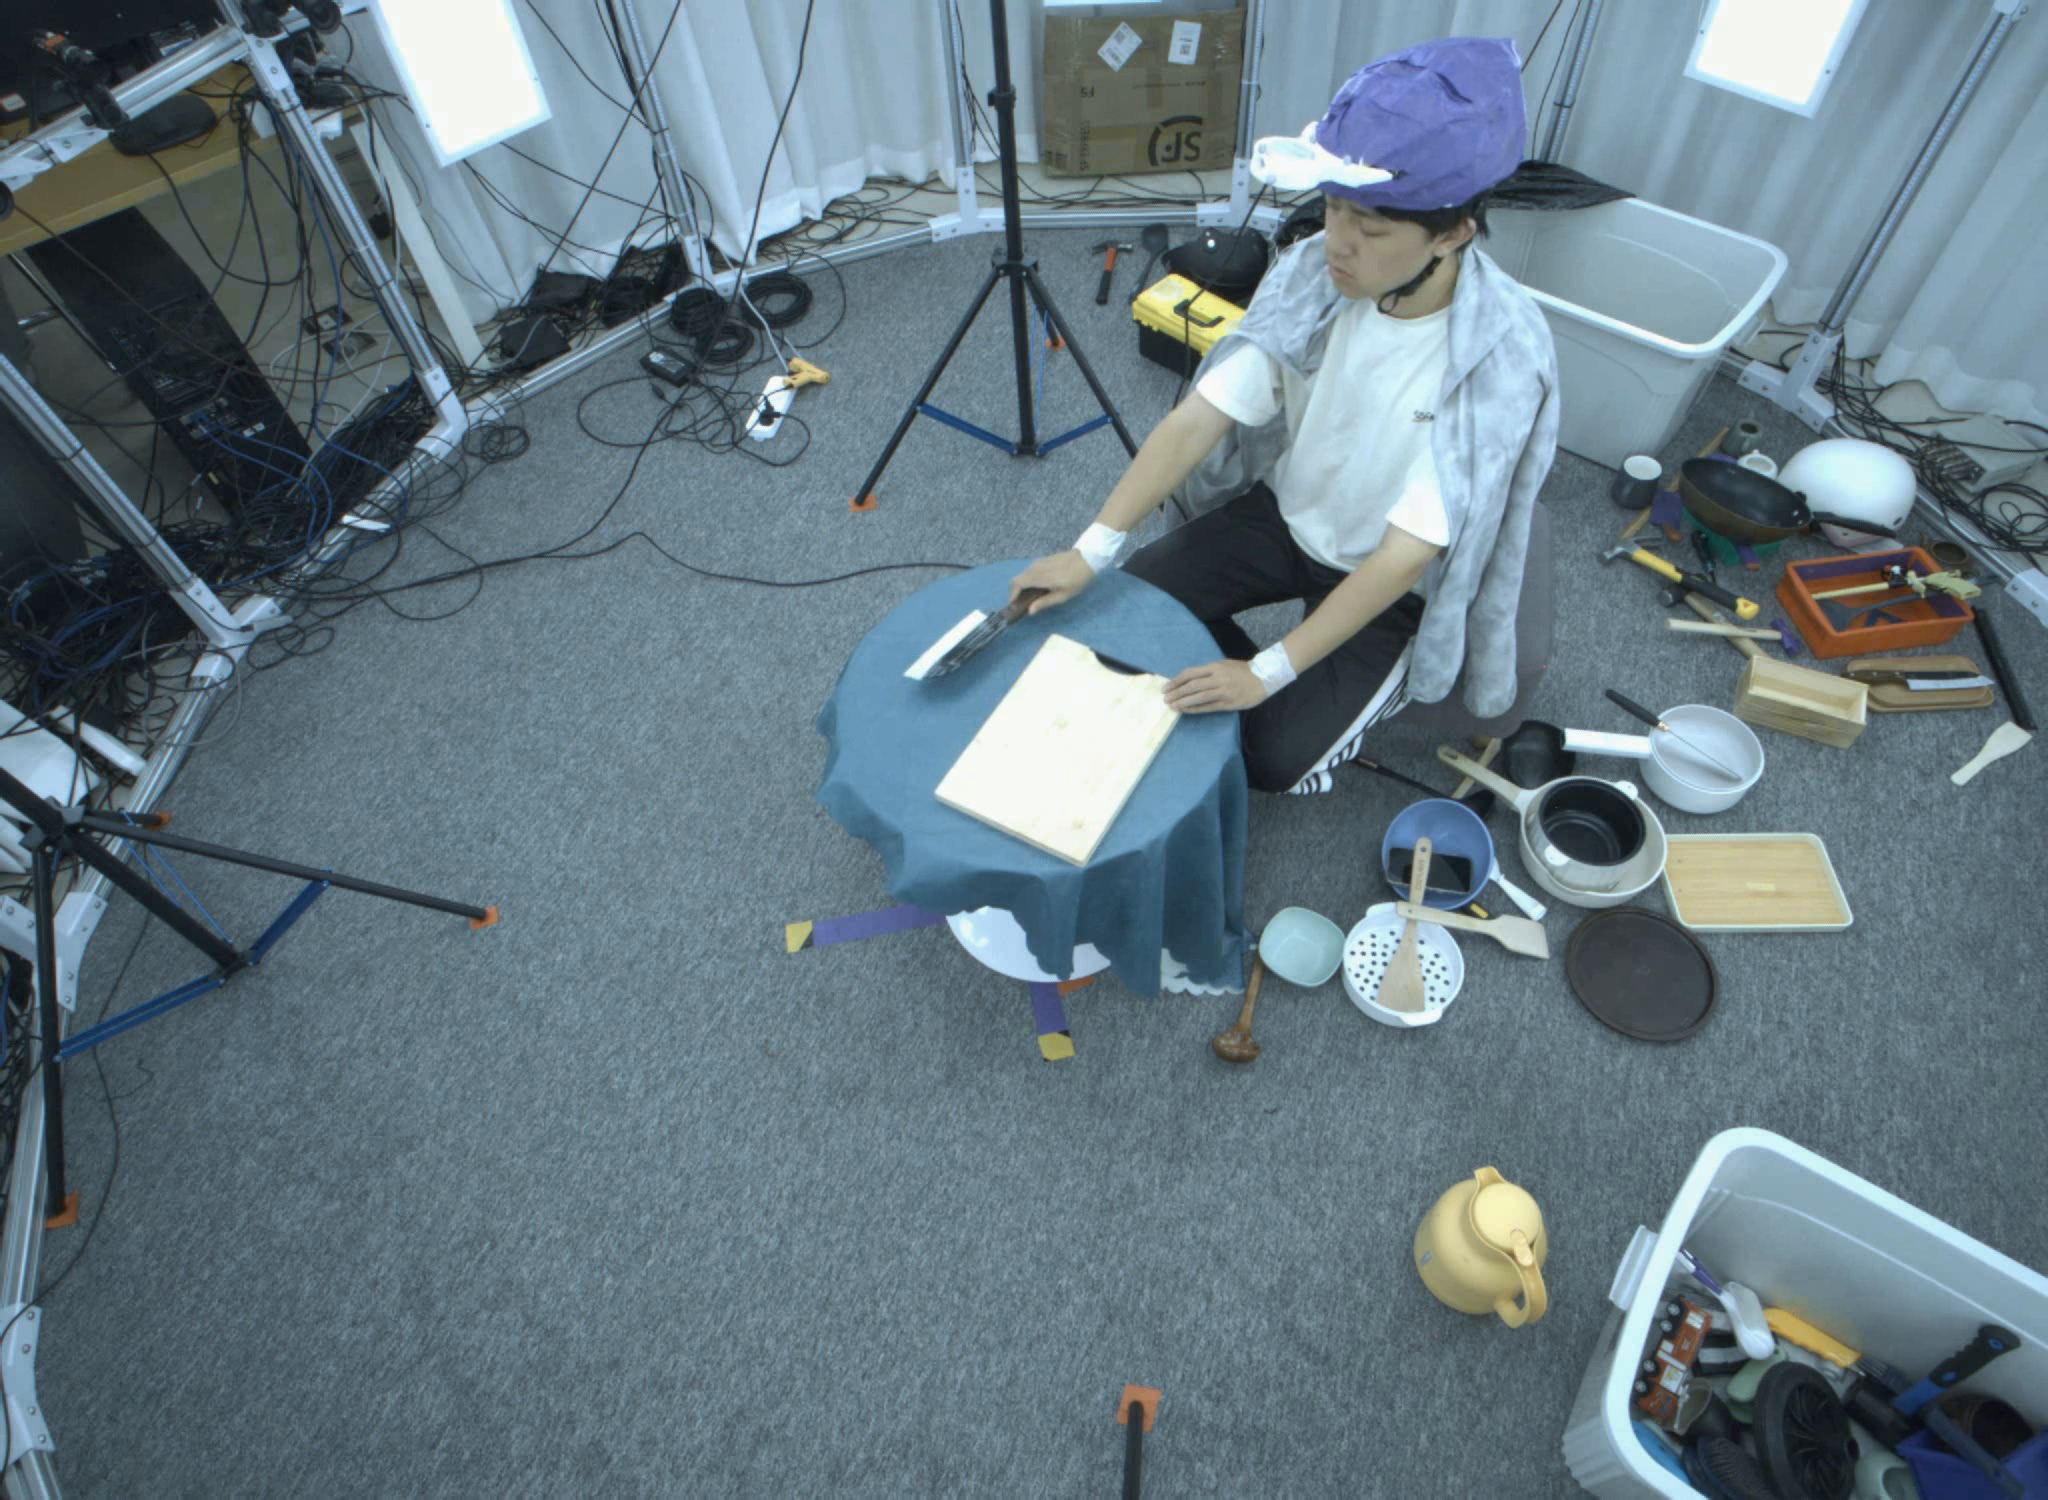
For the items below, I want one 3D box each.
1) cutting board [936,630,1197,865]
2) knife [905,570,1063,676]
[{"bbox_3d":[0.065,-0.014,1.788,0.247,0.024,0.349,24,59,17],"label":"cutting board"},{"bbox_3d":[-0.060,-0.196,1.879,0.066,0.024,0.301,33,61,31],"label":"knife"}]
